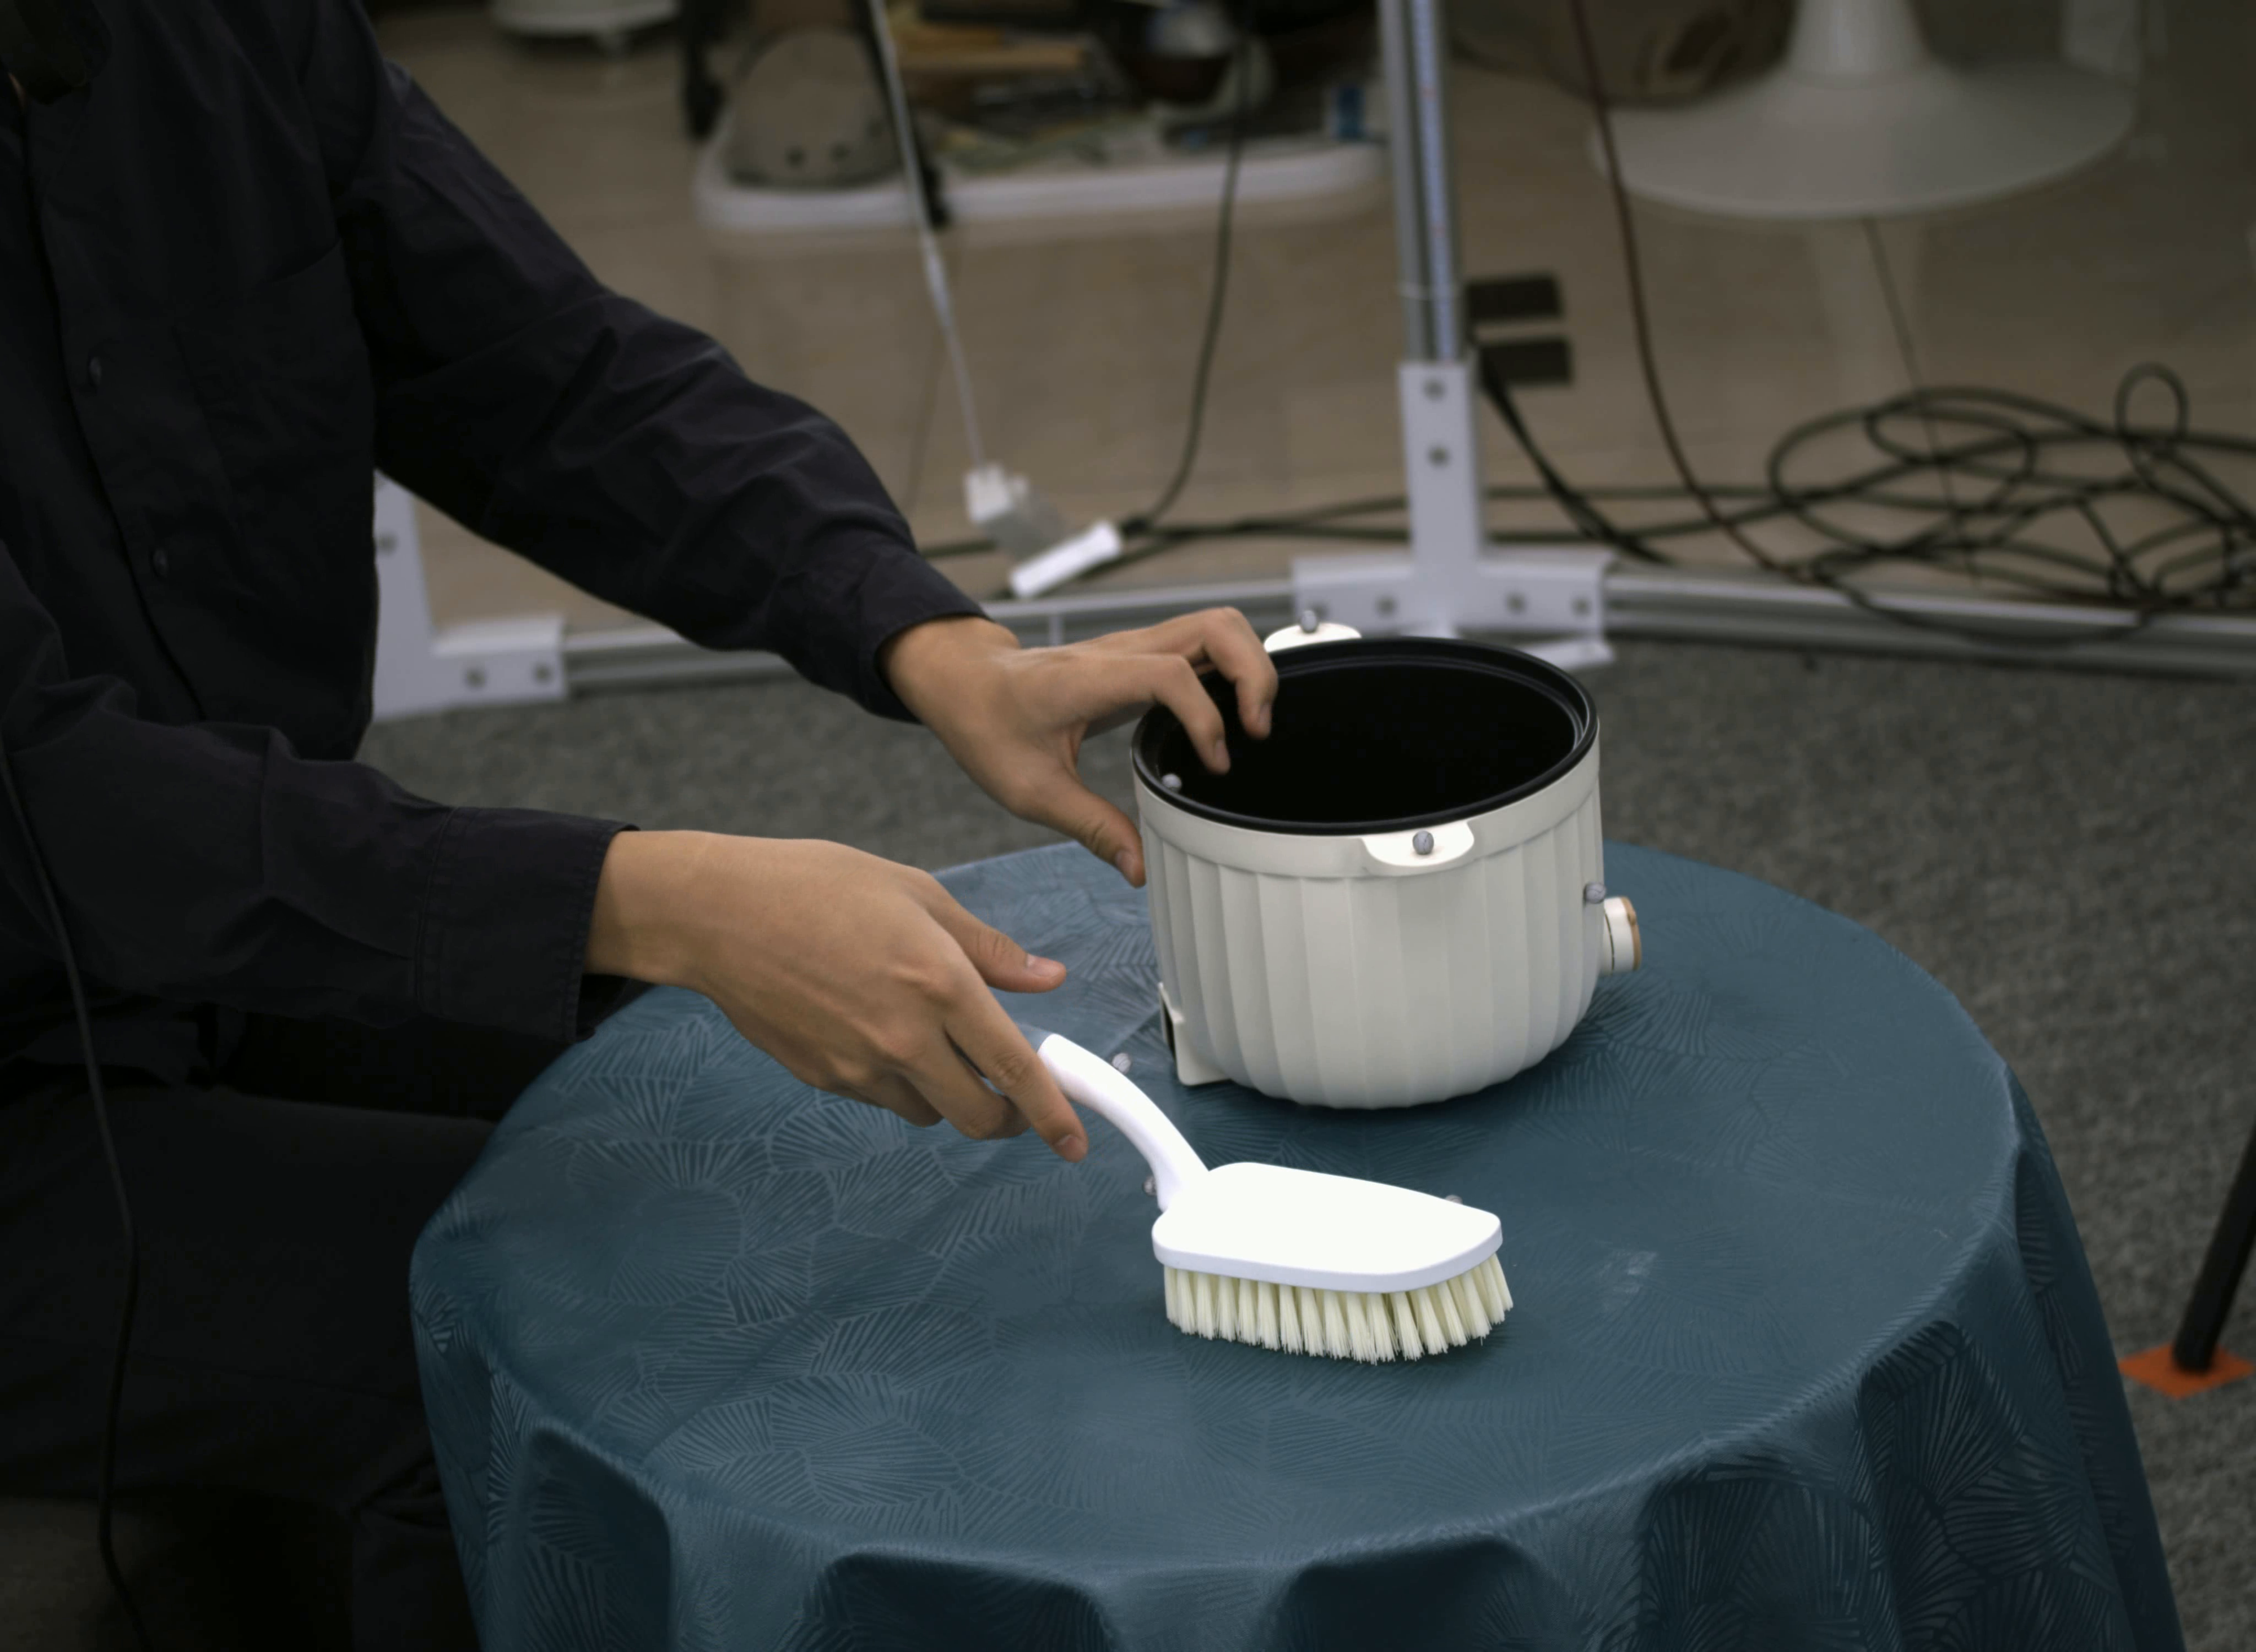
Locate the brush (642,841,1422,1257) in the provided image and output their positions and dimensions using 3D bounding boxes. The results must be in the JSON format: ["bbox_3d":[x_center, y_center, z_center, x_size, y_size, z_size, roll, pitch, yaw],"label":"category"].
[{"bbox_3d":[-0.039,0.093,2.102,0.323,0.084,0.083,19,-3,21],"label":"brush"}]

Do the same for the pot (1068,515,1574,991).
[{"bbox_3d":[0.078,-0.024,2.244,0.190,0.145,0.237,-12,28,-6],"label":"pot"}]
